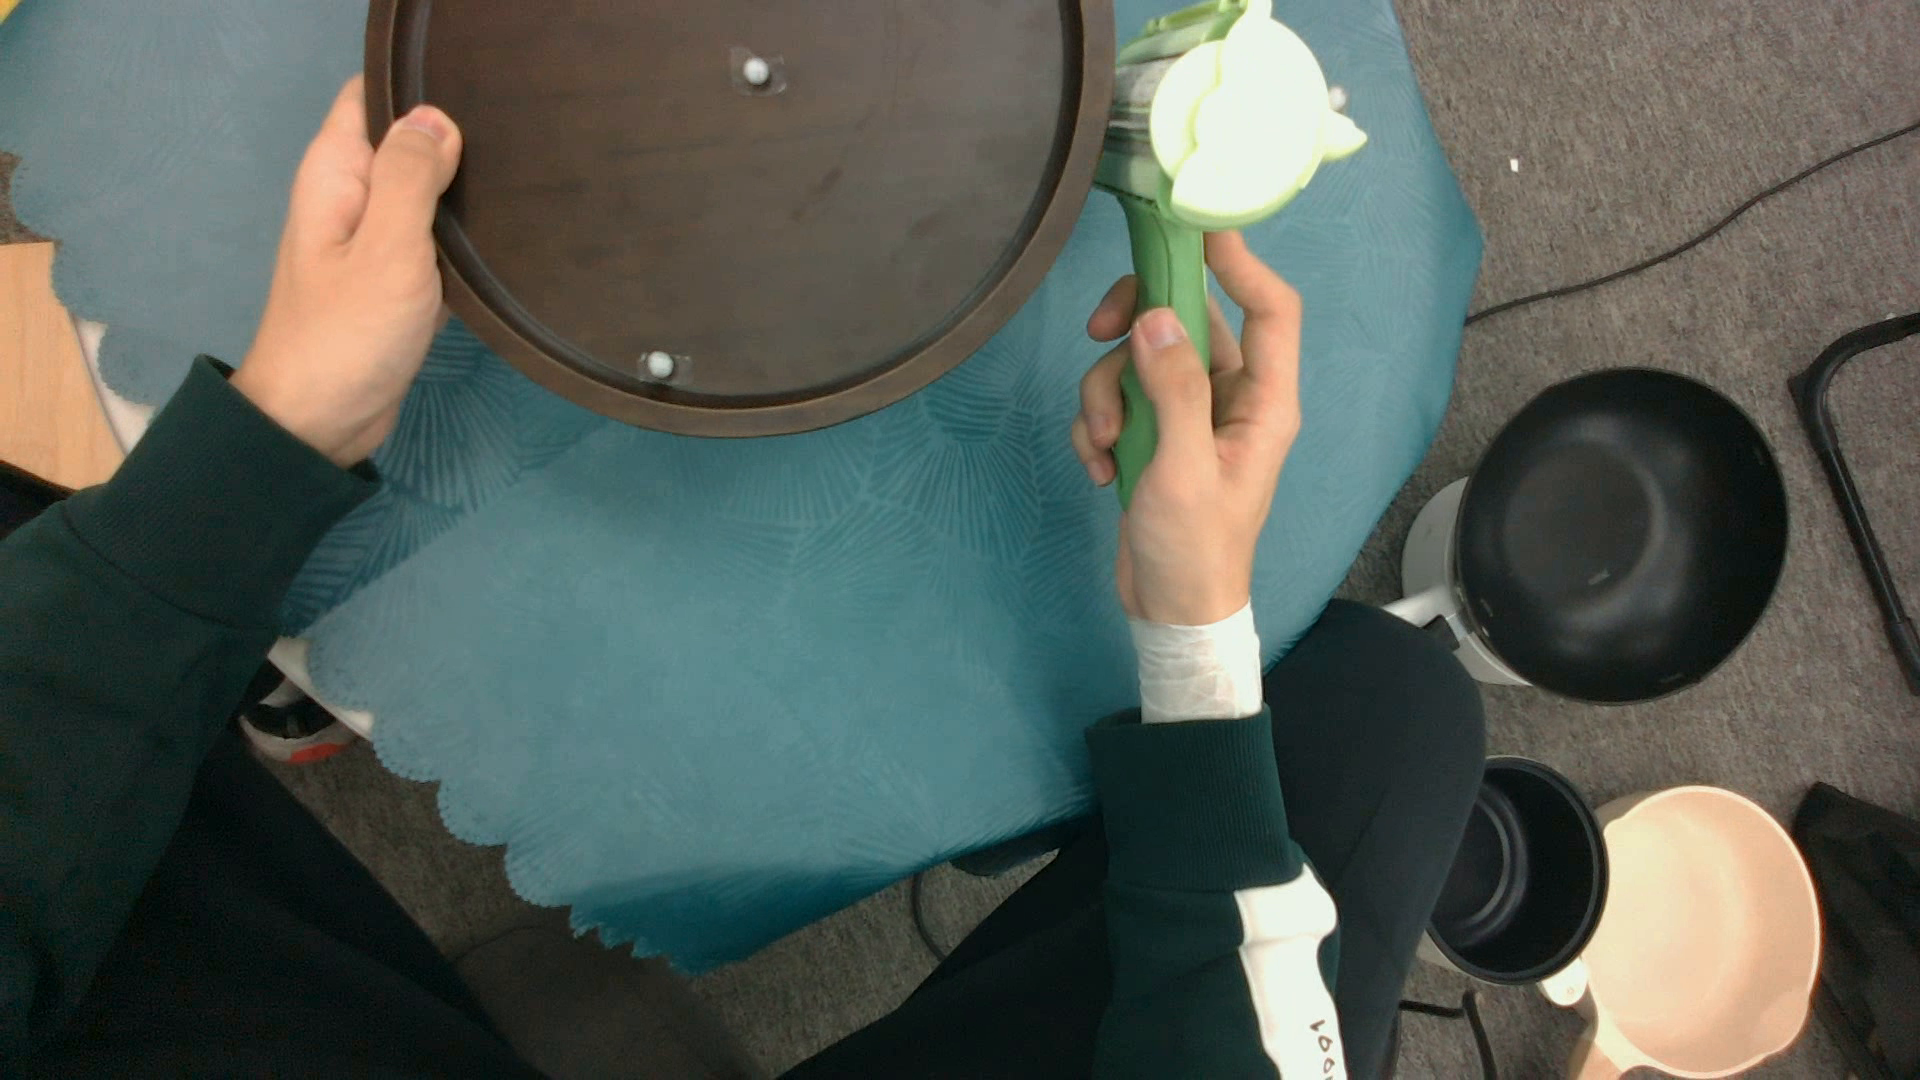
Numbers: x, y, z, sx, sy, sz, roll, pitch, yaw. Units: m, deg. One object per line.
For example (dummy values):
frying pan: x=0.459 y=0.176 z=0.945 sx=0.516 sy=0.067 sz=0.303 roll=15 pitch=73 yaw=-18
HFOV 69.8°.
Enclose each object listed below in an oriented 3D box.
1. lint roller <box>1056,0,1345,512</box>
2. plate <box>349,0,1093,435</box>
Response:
lint roller: x=0.086 y=-0.103 z=0.508 sx=0.082 sy=0.199 sz=0.183 roll=-11 pitch=108 yaw=-1
plate: x=-0.082 y=-0.161 z=0.469 sx=0.255 sy=0.029 sz=0.255 roll=0 pitch=88 yaw=2
